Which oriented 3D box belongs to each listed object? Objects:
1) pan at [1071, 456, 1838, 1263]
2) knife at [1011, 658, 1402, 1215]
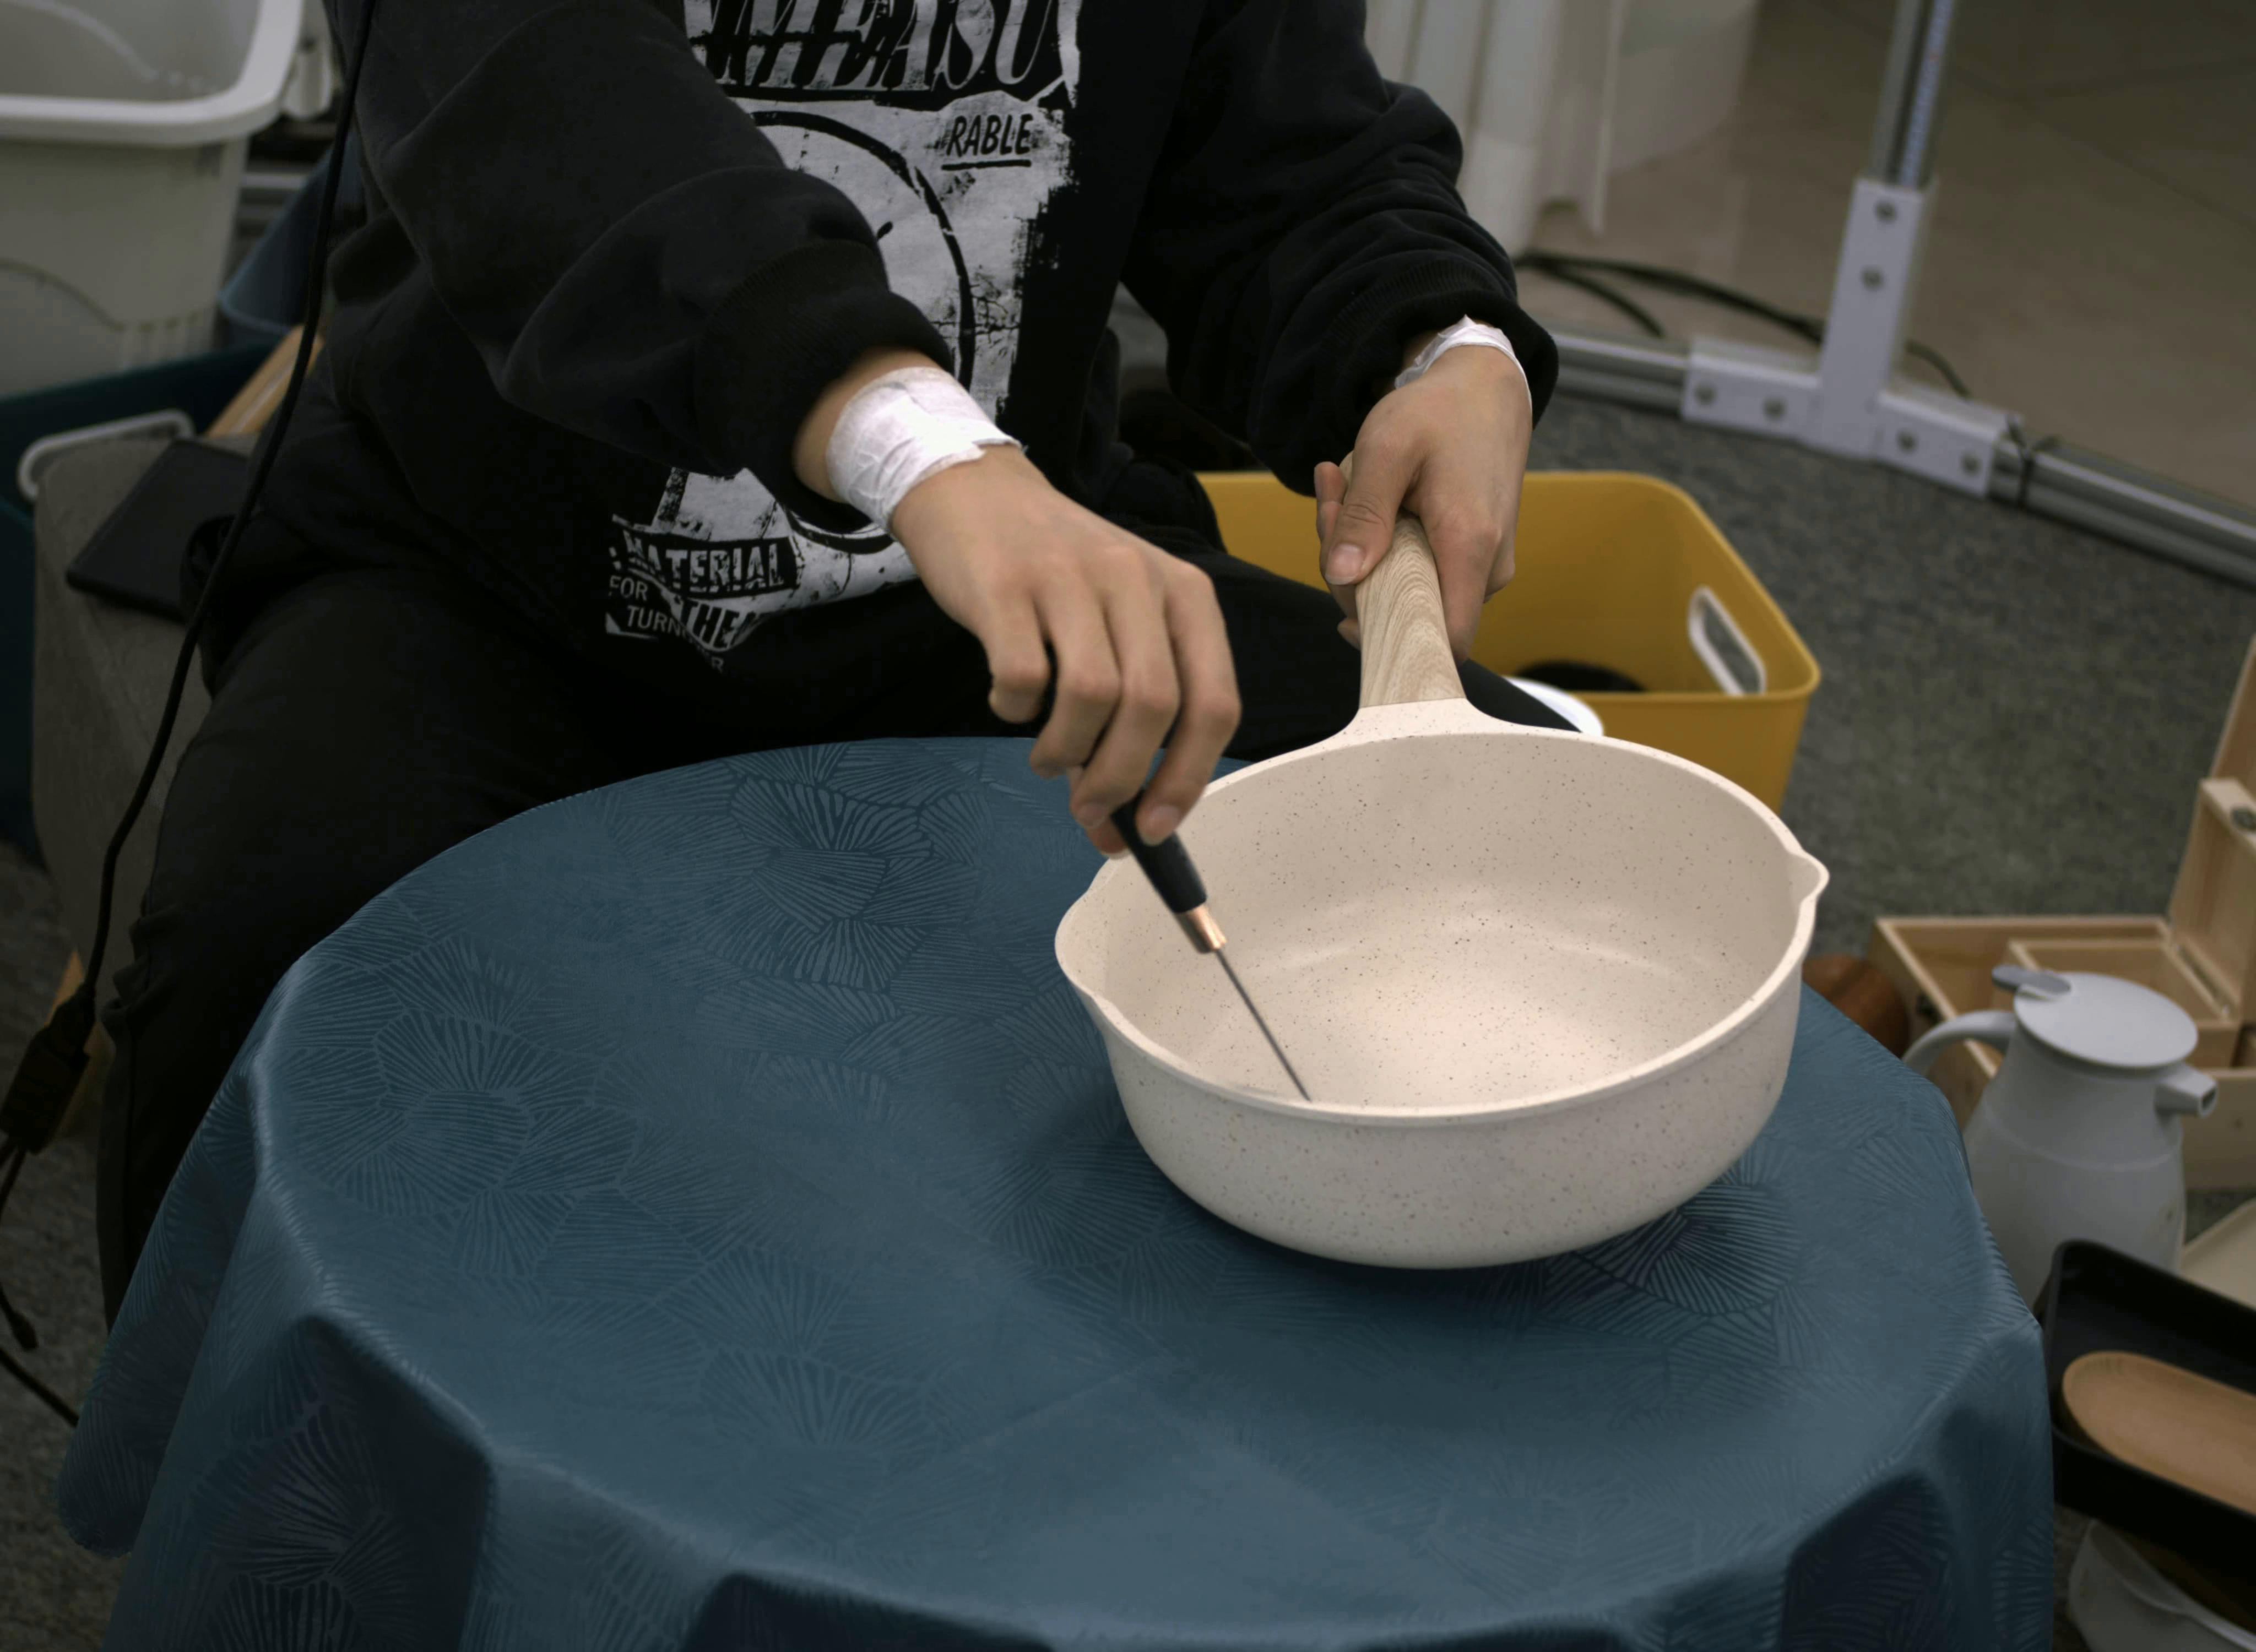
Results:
[{"bbox_3d":[0.111,0.008,1.899,0.263,0.101,0.438,-7,30,2],"label":"pan"},{"bbox_3d":[0.028,0.038,1.713,0.017,0.225,0.026,-34,12,1],"label":"knife"}]
